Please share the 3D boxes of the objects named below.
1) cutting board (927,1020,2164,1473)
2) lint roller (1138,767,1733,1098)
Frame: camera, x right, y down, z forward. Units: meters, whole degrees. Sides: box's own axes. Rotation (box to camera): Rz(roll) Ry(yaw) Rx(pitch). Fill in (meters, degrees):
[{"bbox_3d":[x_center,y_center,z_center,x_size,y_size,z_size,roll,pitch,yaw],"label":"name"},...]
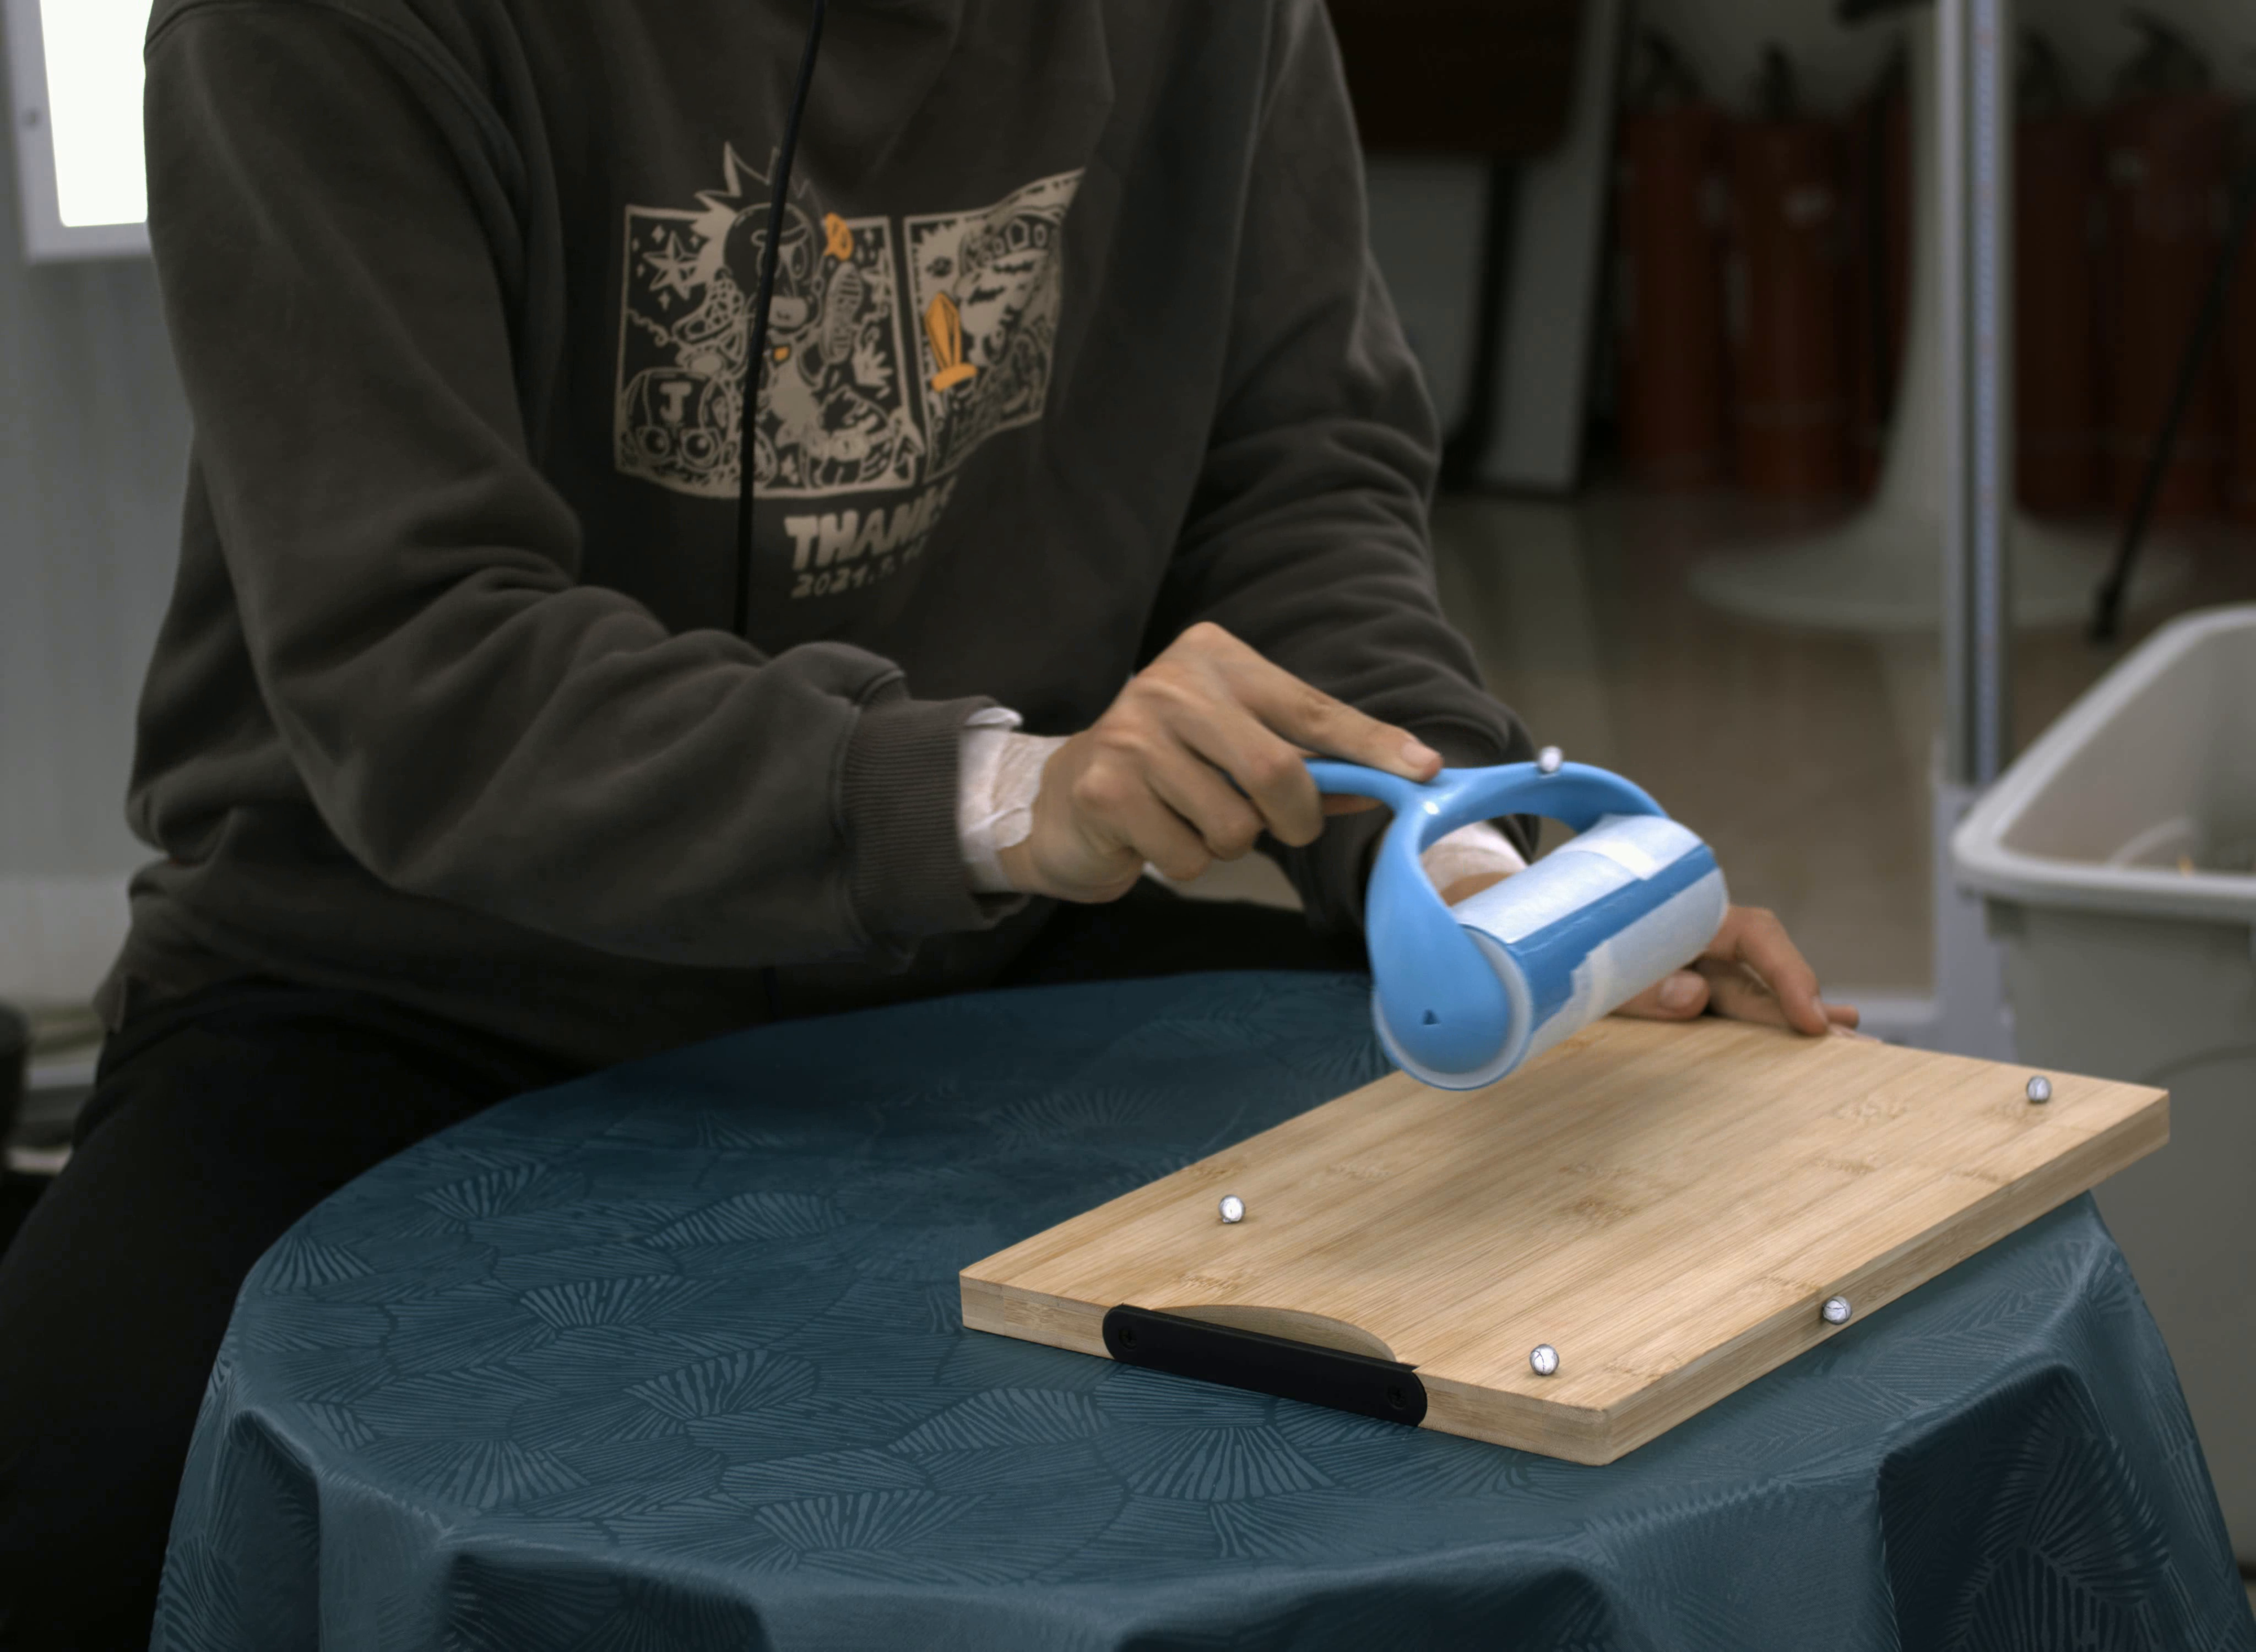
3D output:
[{"bbox_3d":[0.139,0.124,1.694,0.252,0.024,0.342,6,17,38],"label":"cutting board"},{"bbox_3d":[0.090,0.015,1.725,0.180,0.068,0.226,25,19,15],"label":"lint roller"}]
